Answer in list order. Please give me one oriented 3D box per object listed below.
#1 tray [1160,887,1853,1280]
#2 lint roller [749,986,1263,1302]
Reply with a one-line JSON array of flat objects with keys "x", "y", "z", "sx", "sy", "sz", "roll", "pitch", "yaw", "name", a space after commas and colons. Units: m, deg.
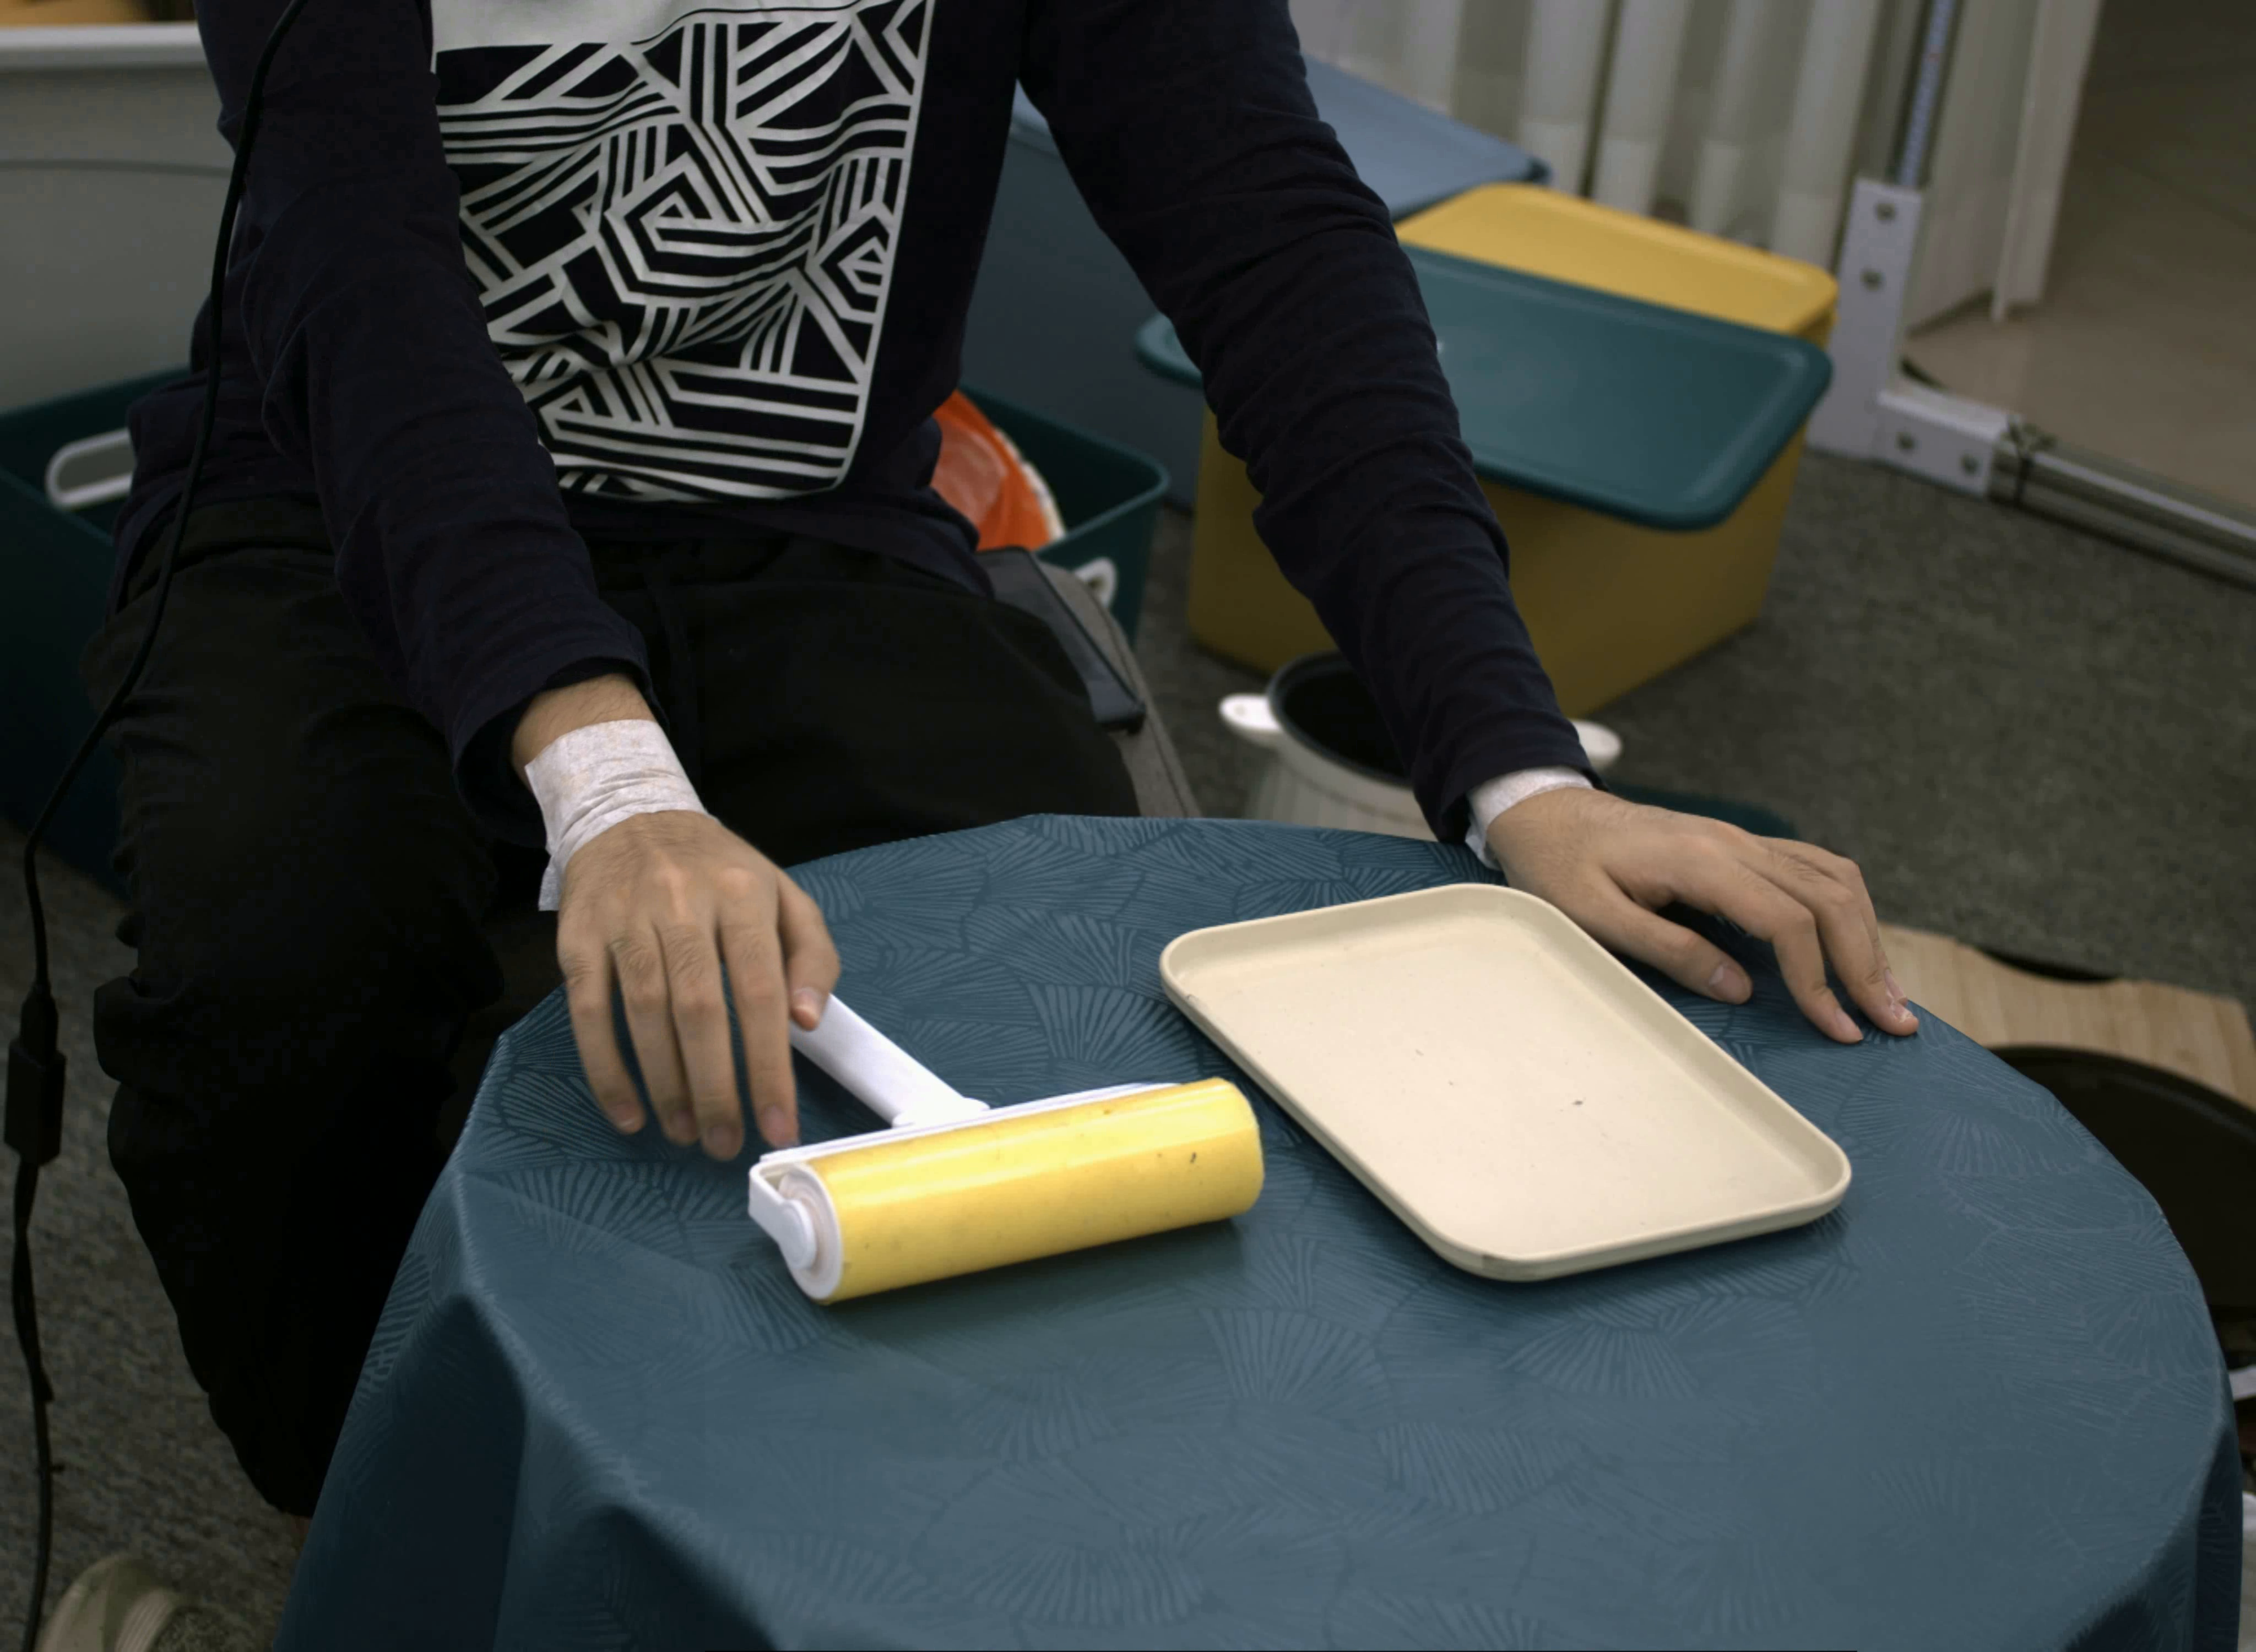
[{"x": 0.130, "y": 0.090, "z": 1.883, "sx": 0.170, "sy": 0.017, "sz": 0.242, "roll": -8, "pitch": 30, "yaw": -28, "name": "tray"}, {"x": -0.073, "y": 0.088, "z": 1.806, "sx": 0.173, "sy": 0.051, "sz": 0.194, "roll": -9, "pitch": 33, "yaw": -31, "name": "lint roller"}]
